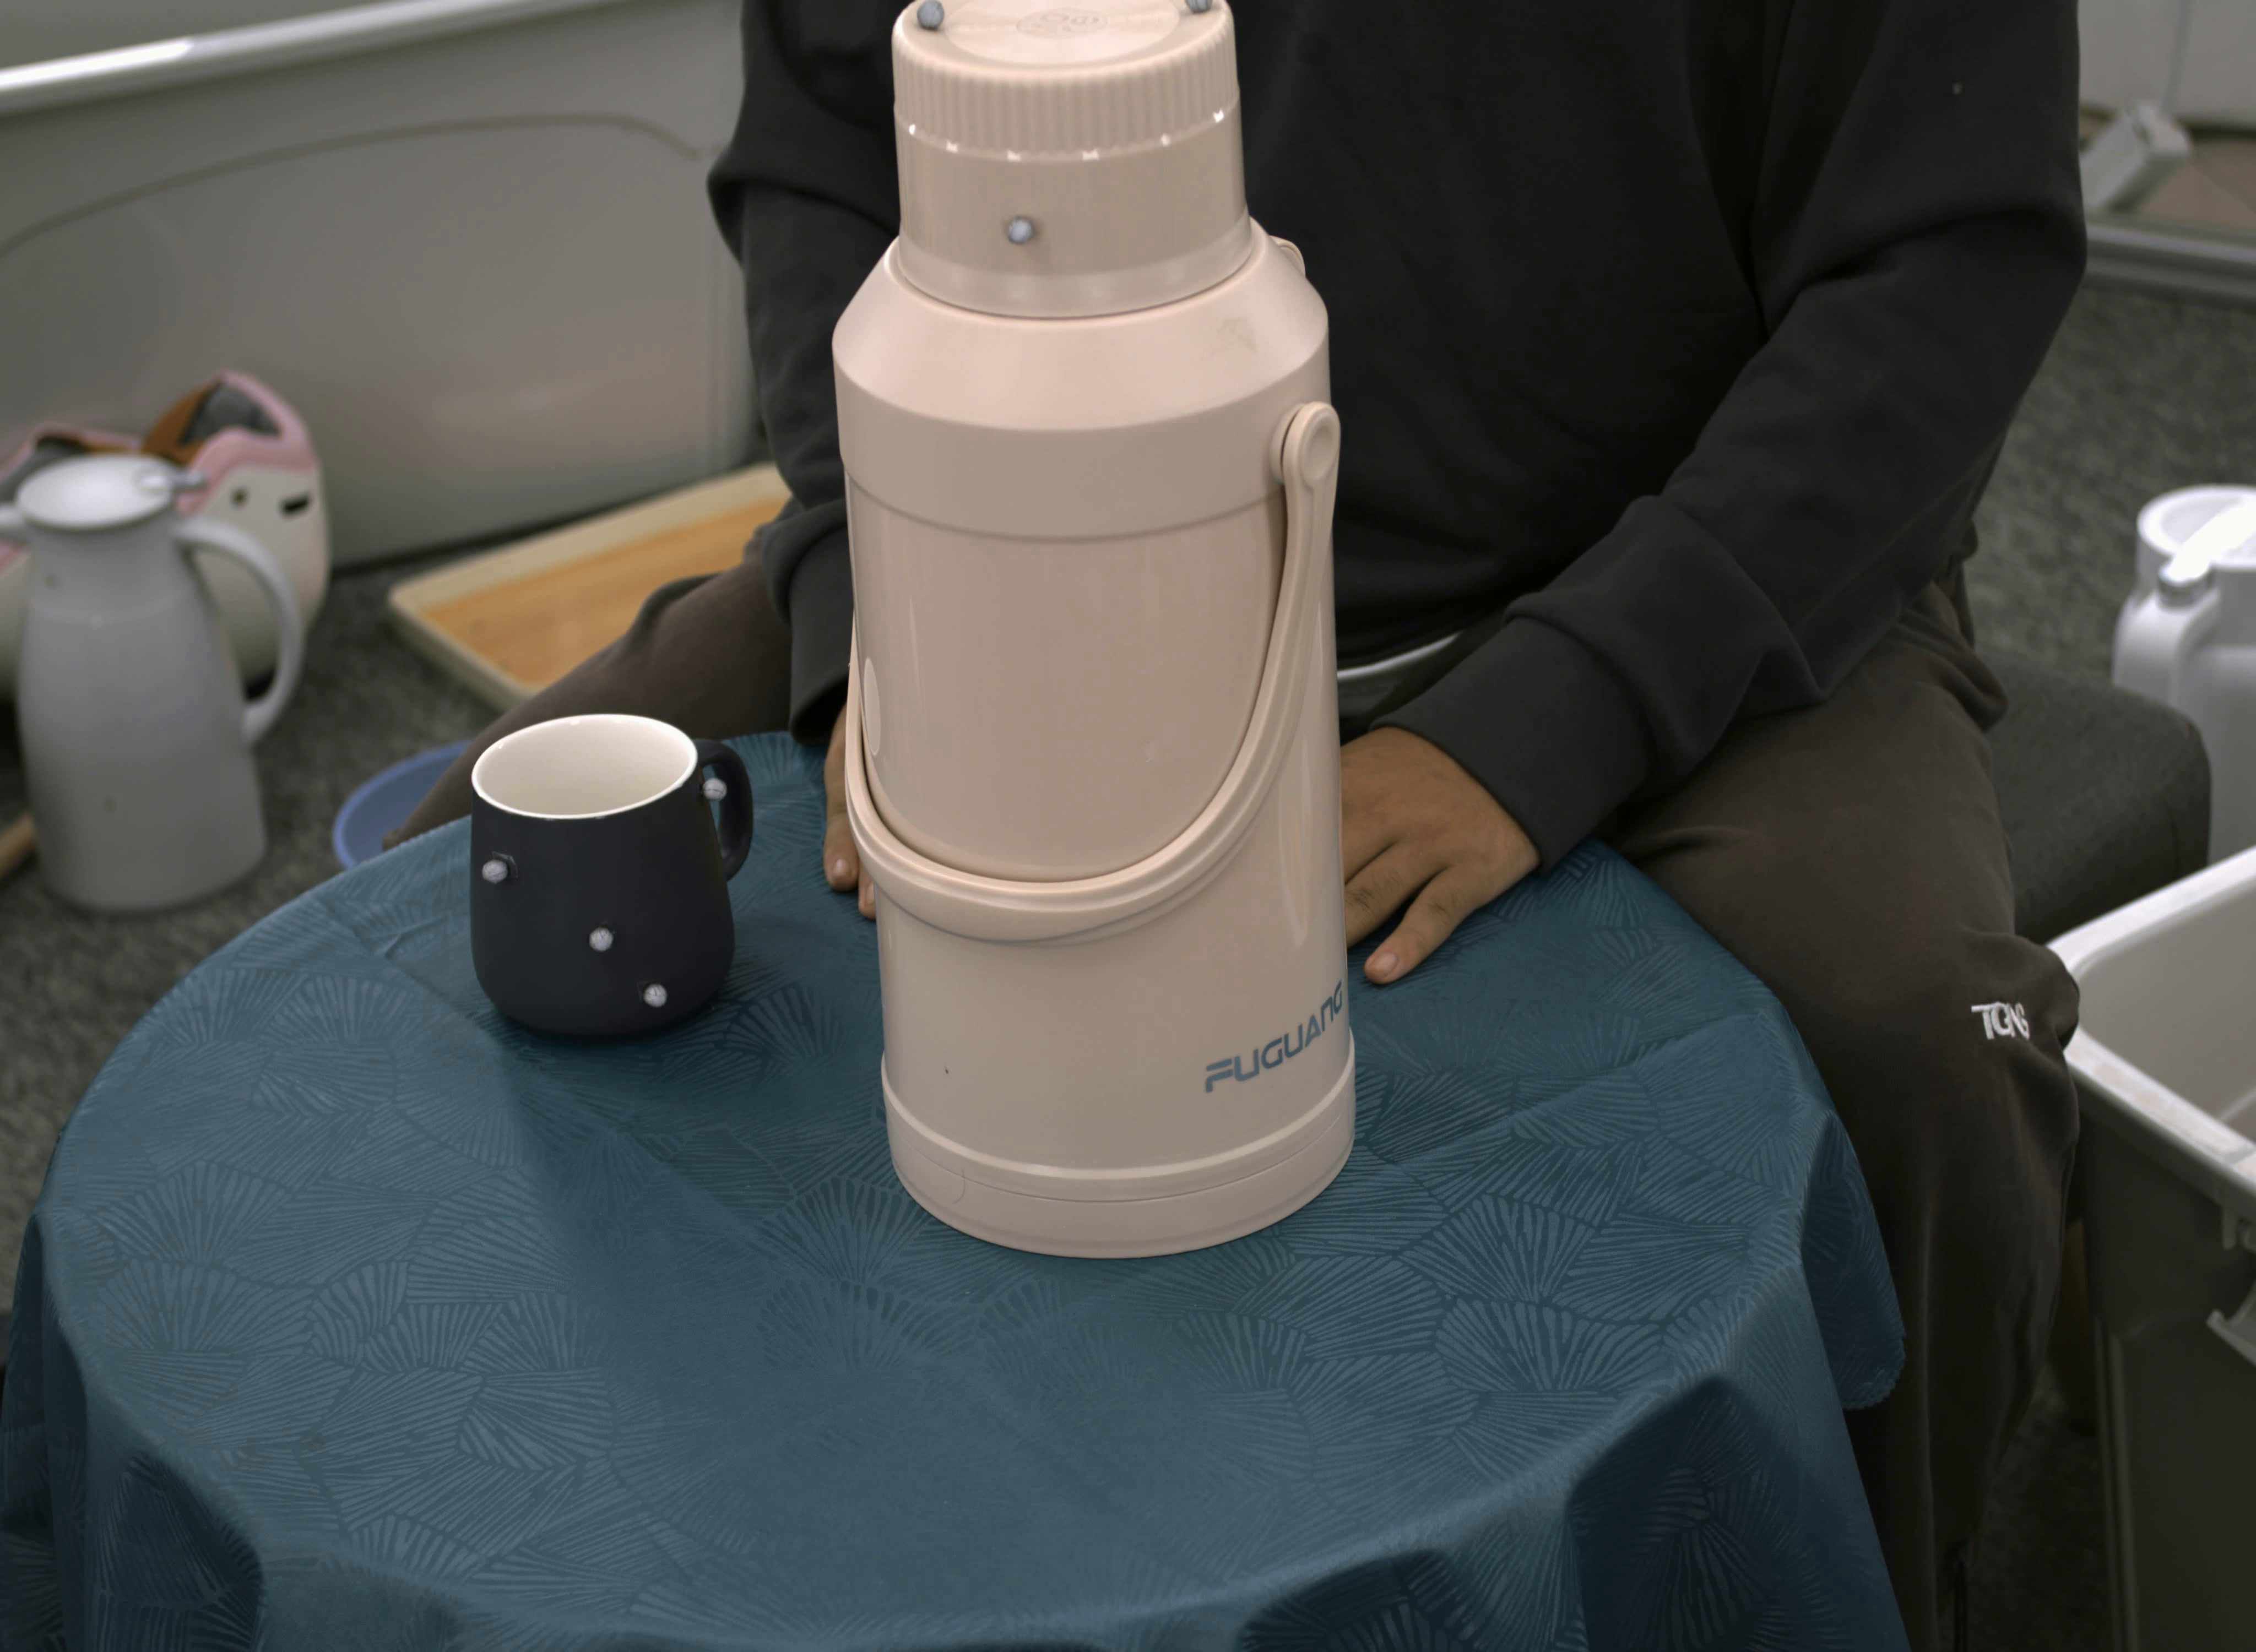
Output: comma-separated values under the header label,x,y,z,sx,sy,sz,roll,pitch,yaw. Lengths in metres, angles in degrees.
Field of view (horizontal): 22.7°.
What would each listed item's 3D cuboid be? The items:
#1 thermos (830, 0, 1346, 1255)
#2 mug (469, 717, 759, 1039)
label,x,y,z,sx,sy,sz,roll,pitch,yaw
thermos,-0.004,-0.077,1.823,0.174,0.402,0.210,13,31,30
mug,-0.177,0.013,1.992,0.093,0.089,0.125,19,34,36
